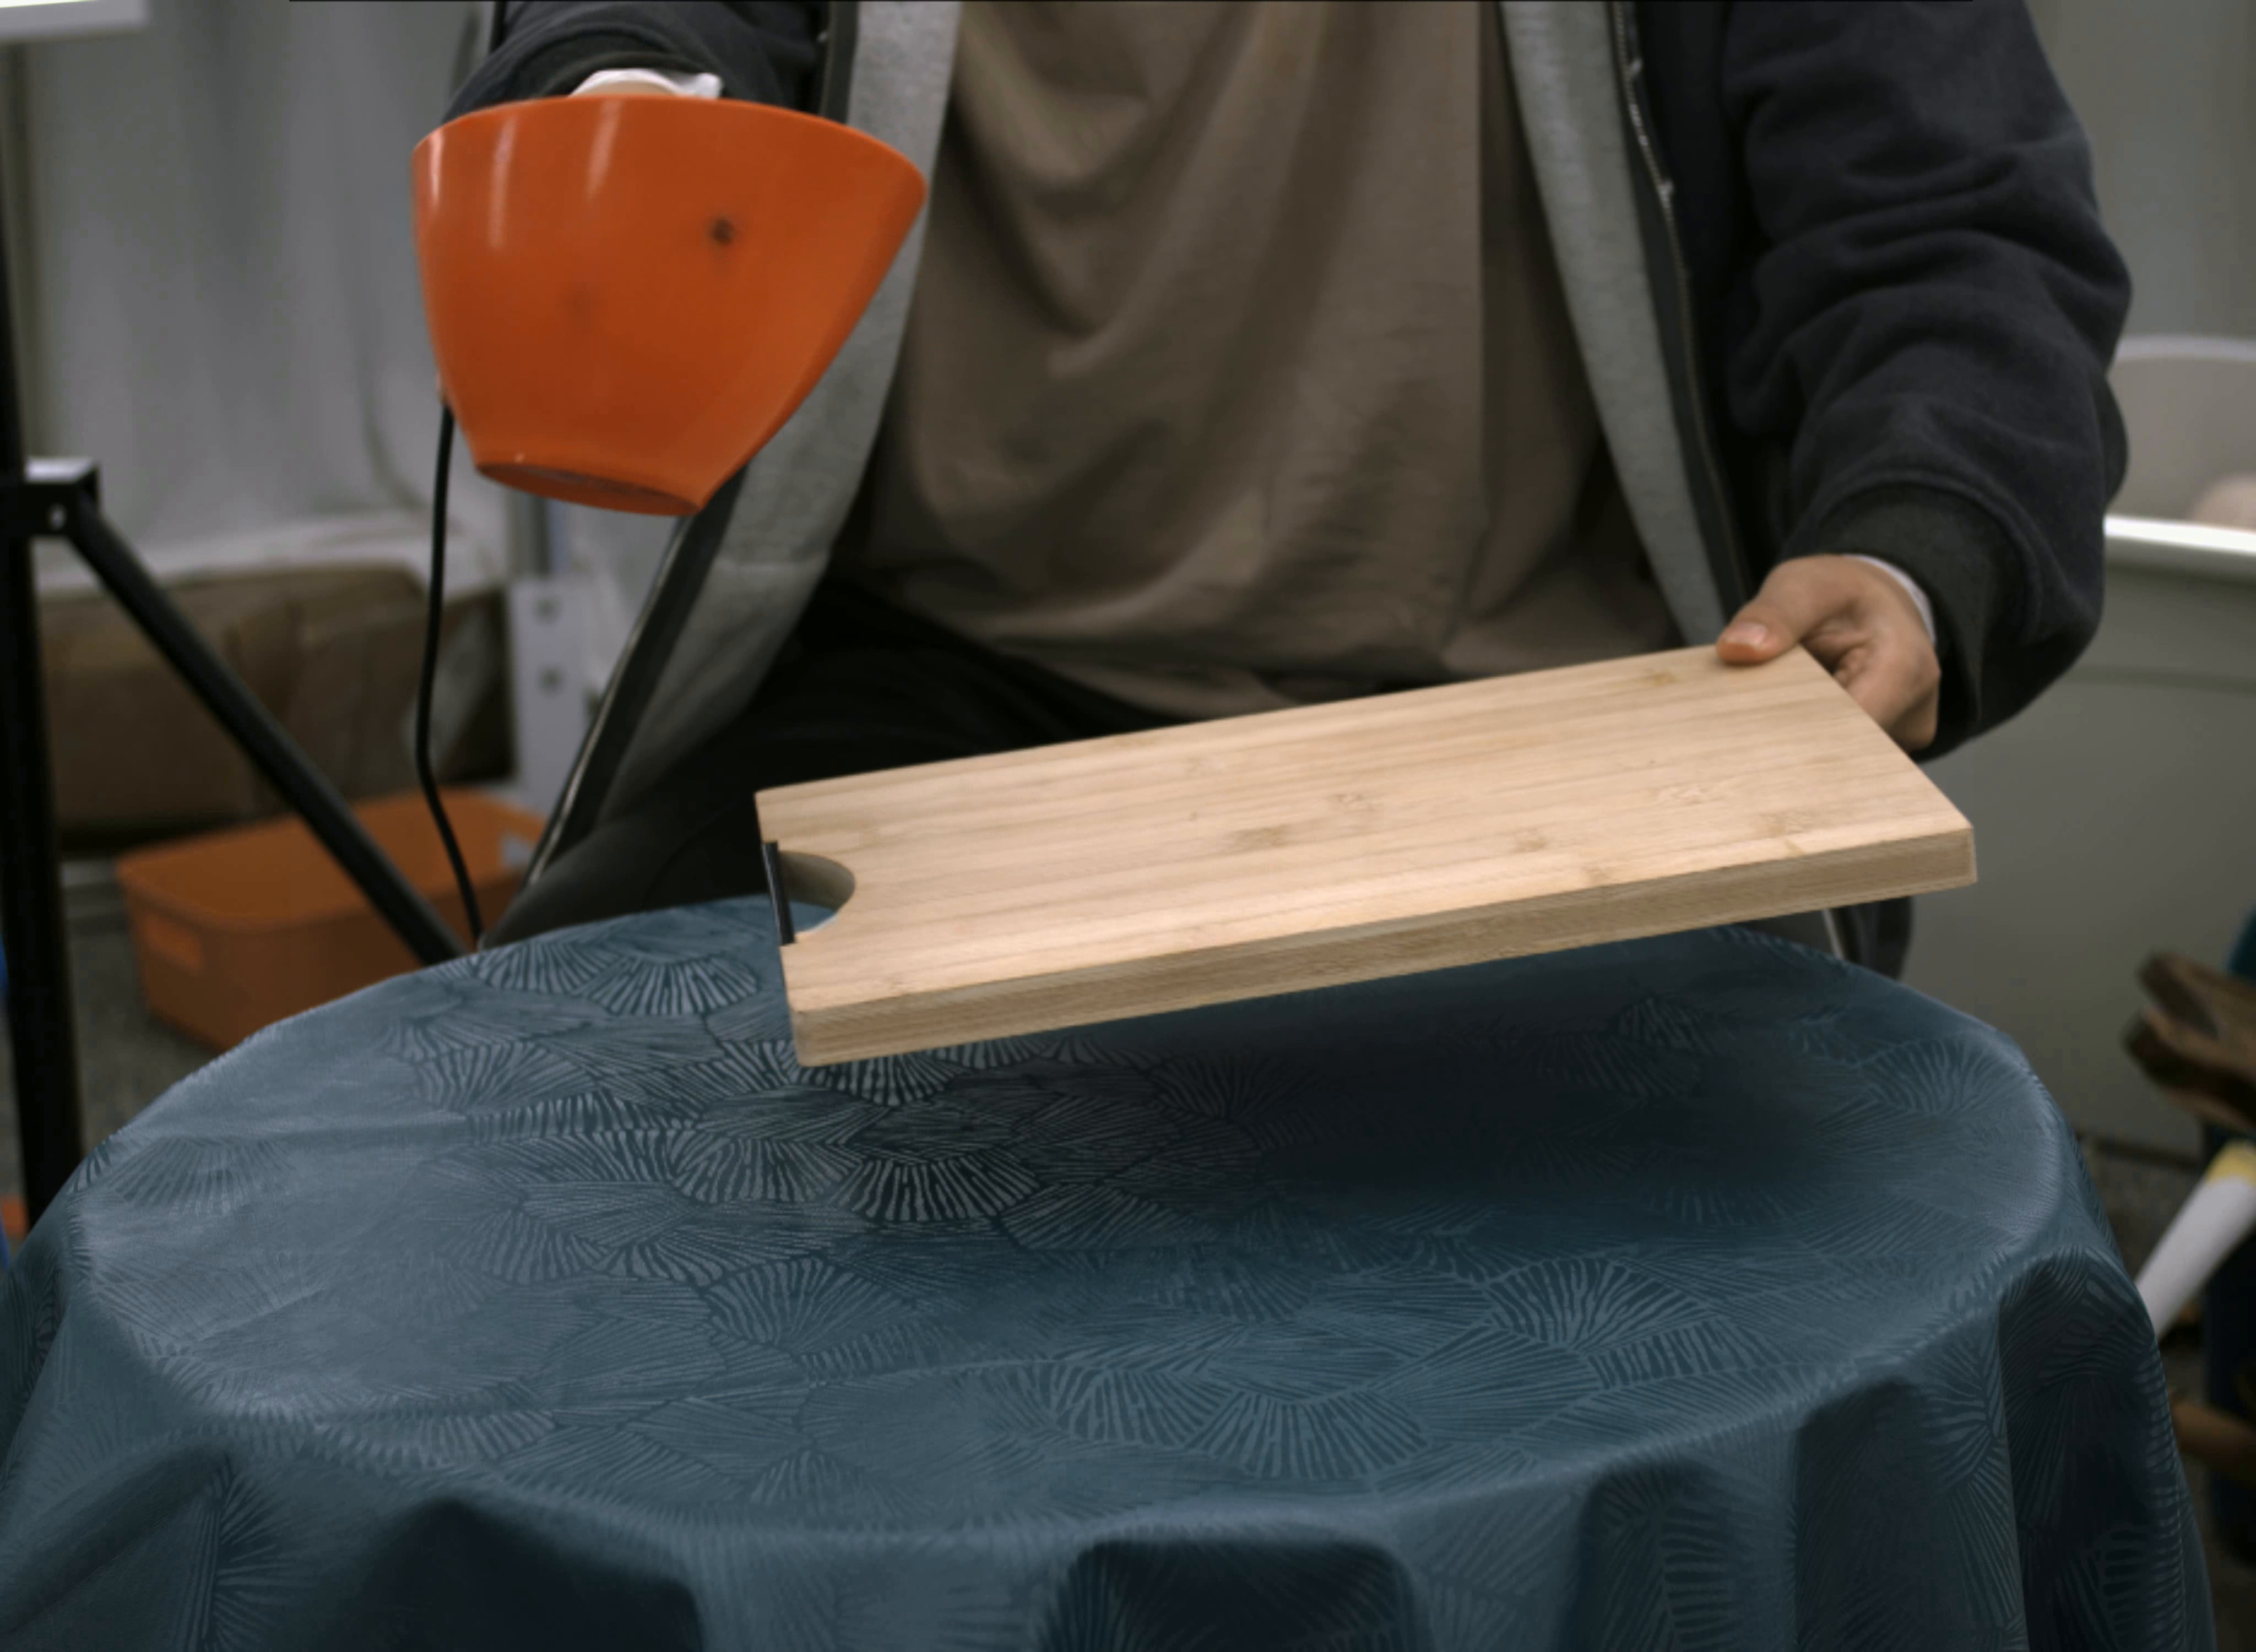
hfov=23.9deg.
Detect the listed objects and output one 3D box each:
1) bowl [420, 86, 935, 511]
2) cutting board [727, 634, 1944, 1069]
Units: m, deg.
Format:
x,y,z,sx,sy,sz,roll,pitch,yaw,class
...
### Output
x,y,z,sx,sy,sz,roll,pitch,yaw,class
-0.136,-0.147,1.531,0.147,0.105,0.148,10,-5,0,bowl
0.054,0.005,1.606,0.346,0.023,0.253,-9,15,-3,cutting board
